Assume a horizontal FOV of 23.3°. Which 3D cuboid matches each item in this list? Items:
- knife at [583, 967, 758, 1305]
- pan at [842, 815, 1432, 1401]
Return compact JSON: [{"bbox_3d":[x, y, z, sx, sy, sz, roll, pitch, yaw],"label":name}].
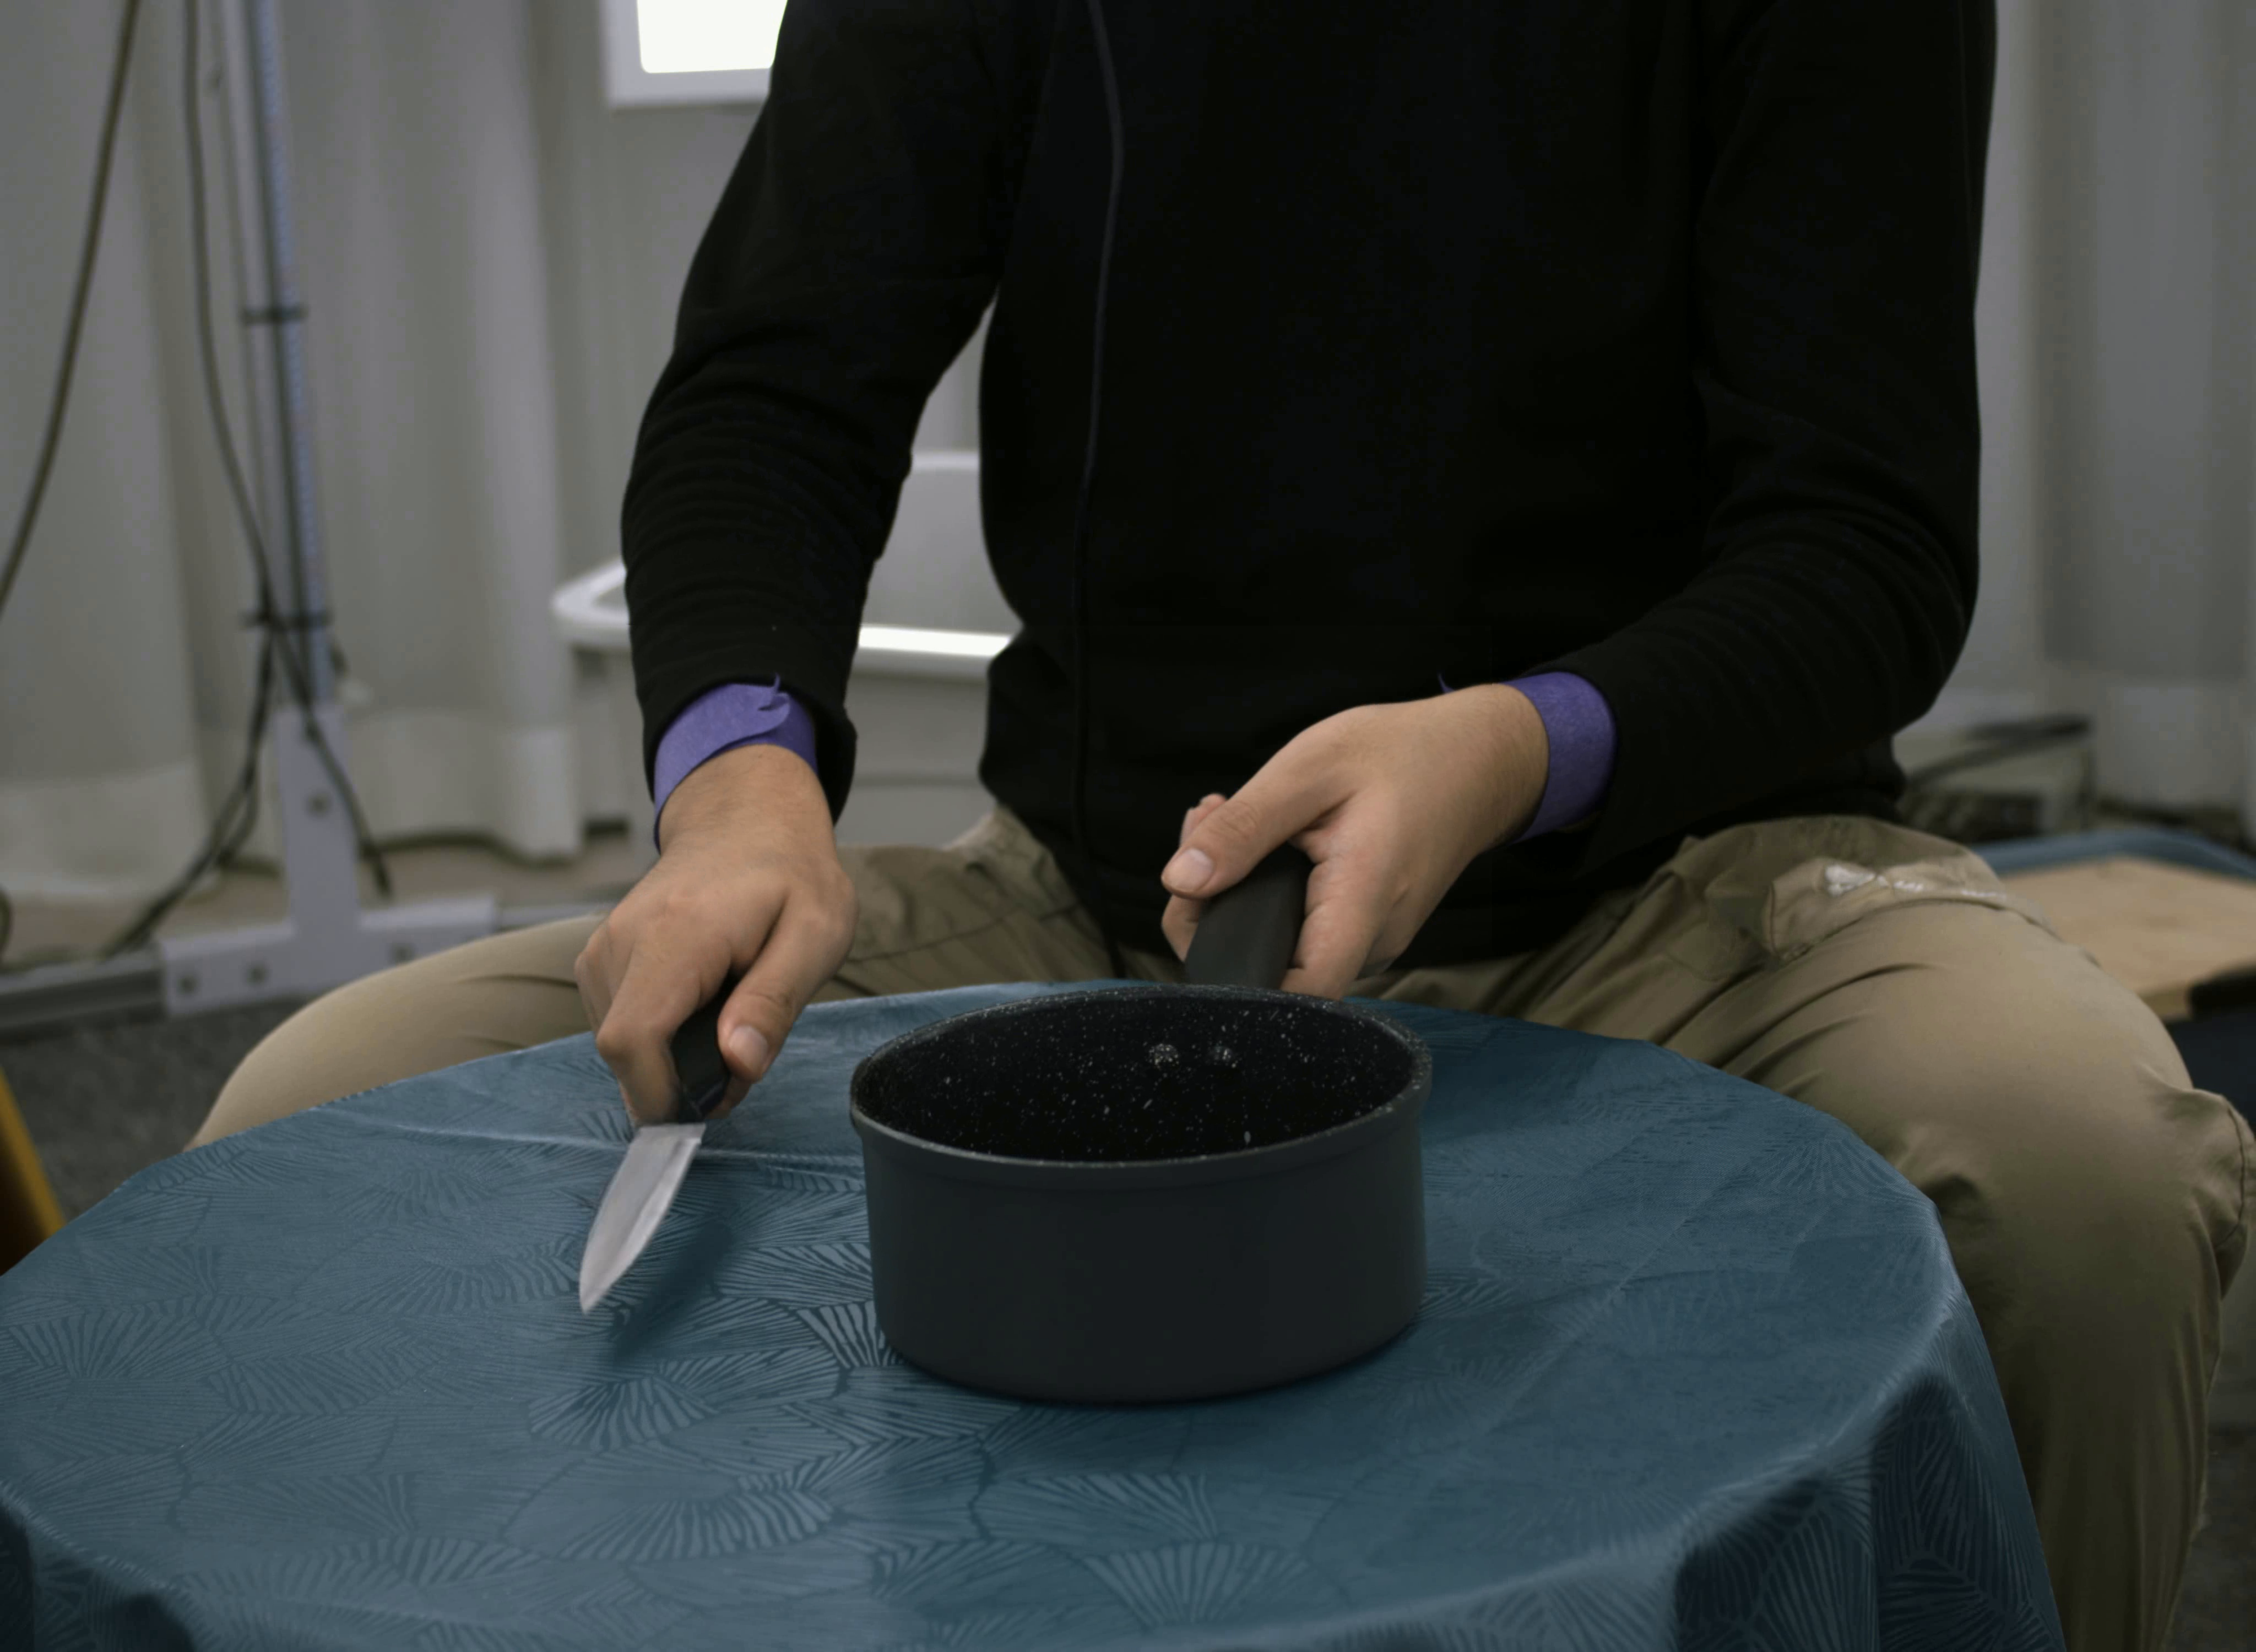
[{"bbox_3d":[-0.144,0.094,1.687,0.024,0.016,0.240,3,21,6],"label":"knife"},{"bbox_3d":[0.024,0.082,1.668,0.172,0.086,0.330,1,16,15],"label":"pan"}]
